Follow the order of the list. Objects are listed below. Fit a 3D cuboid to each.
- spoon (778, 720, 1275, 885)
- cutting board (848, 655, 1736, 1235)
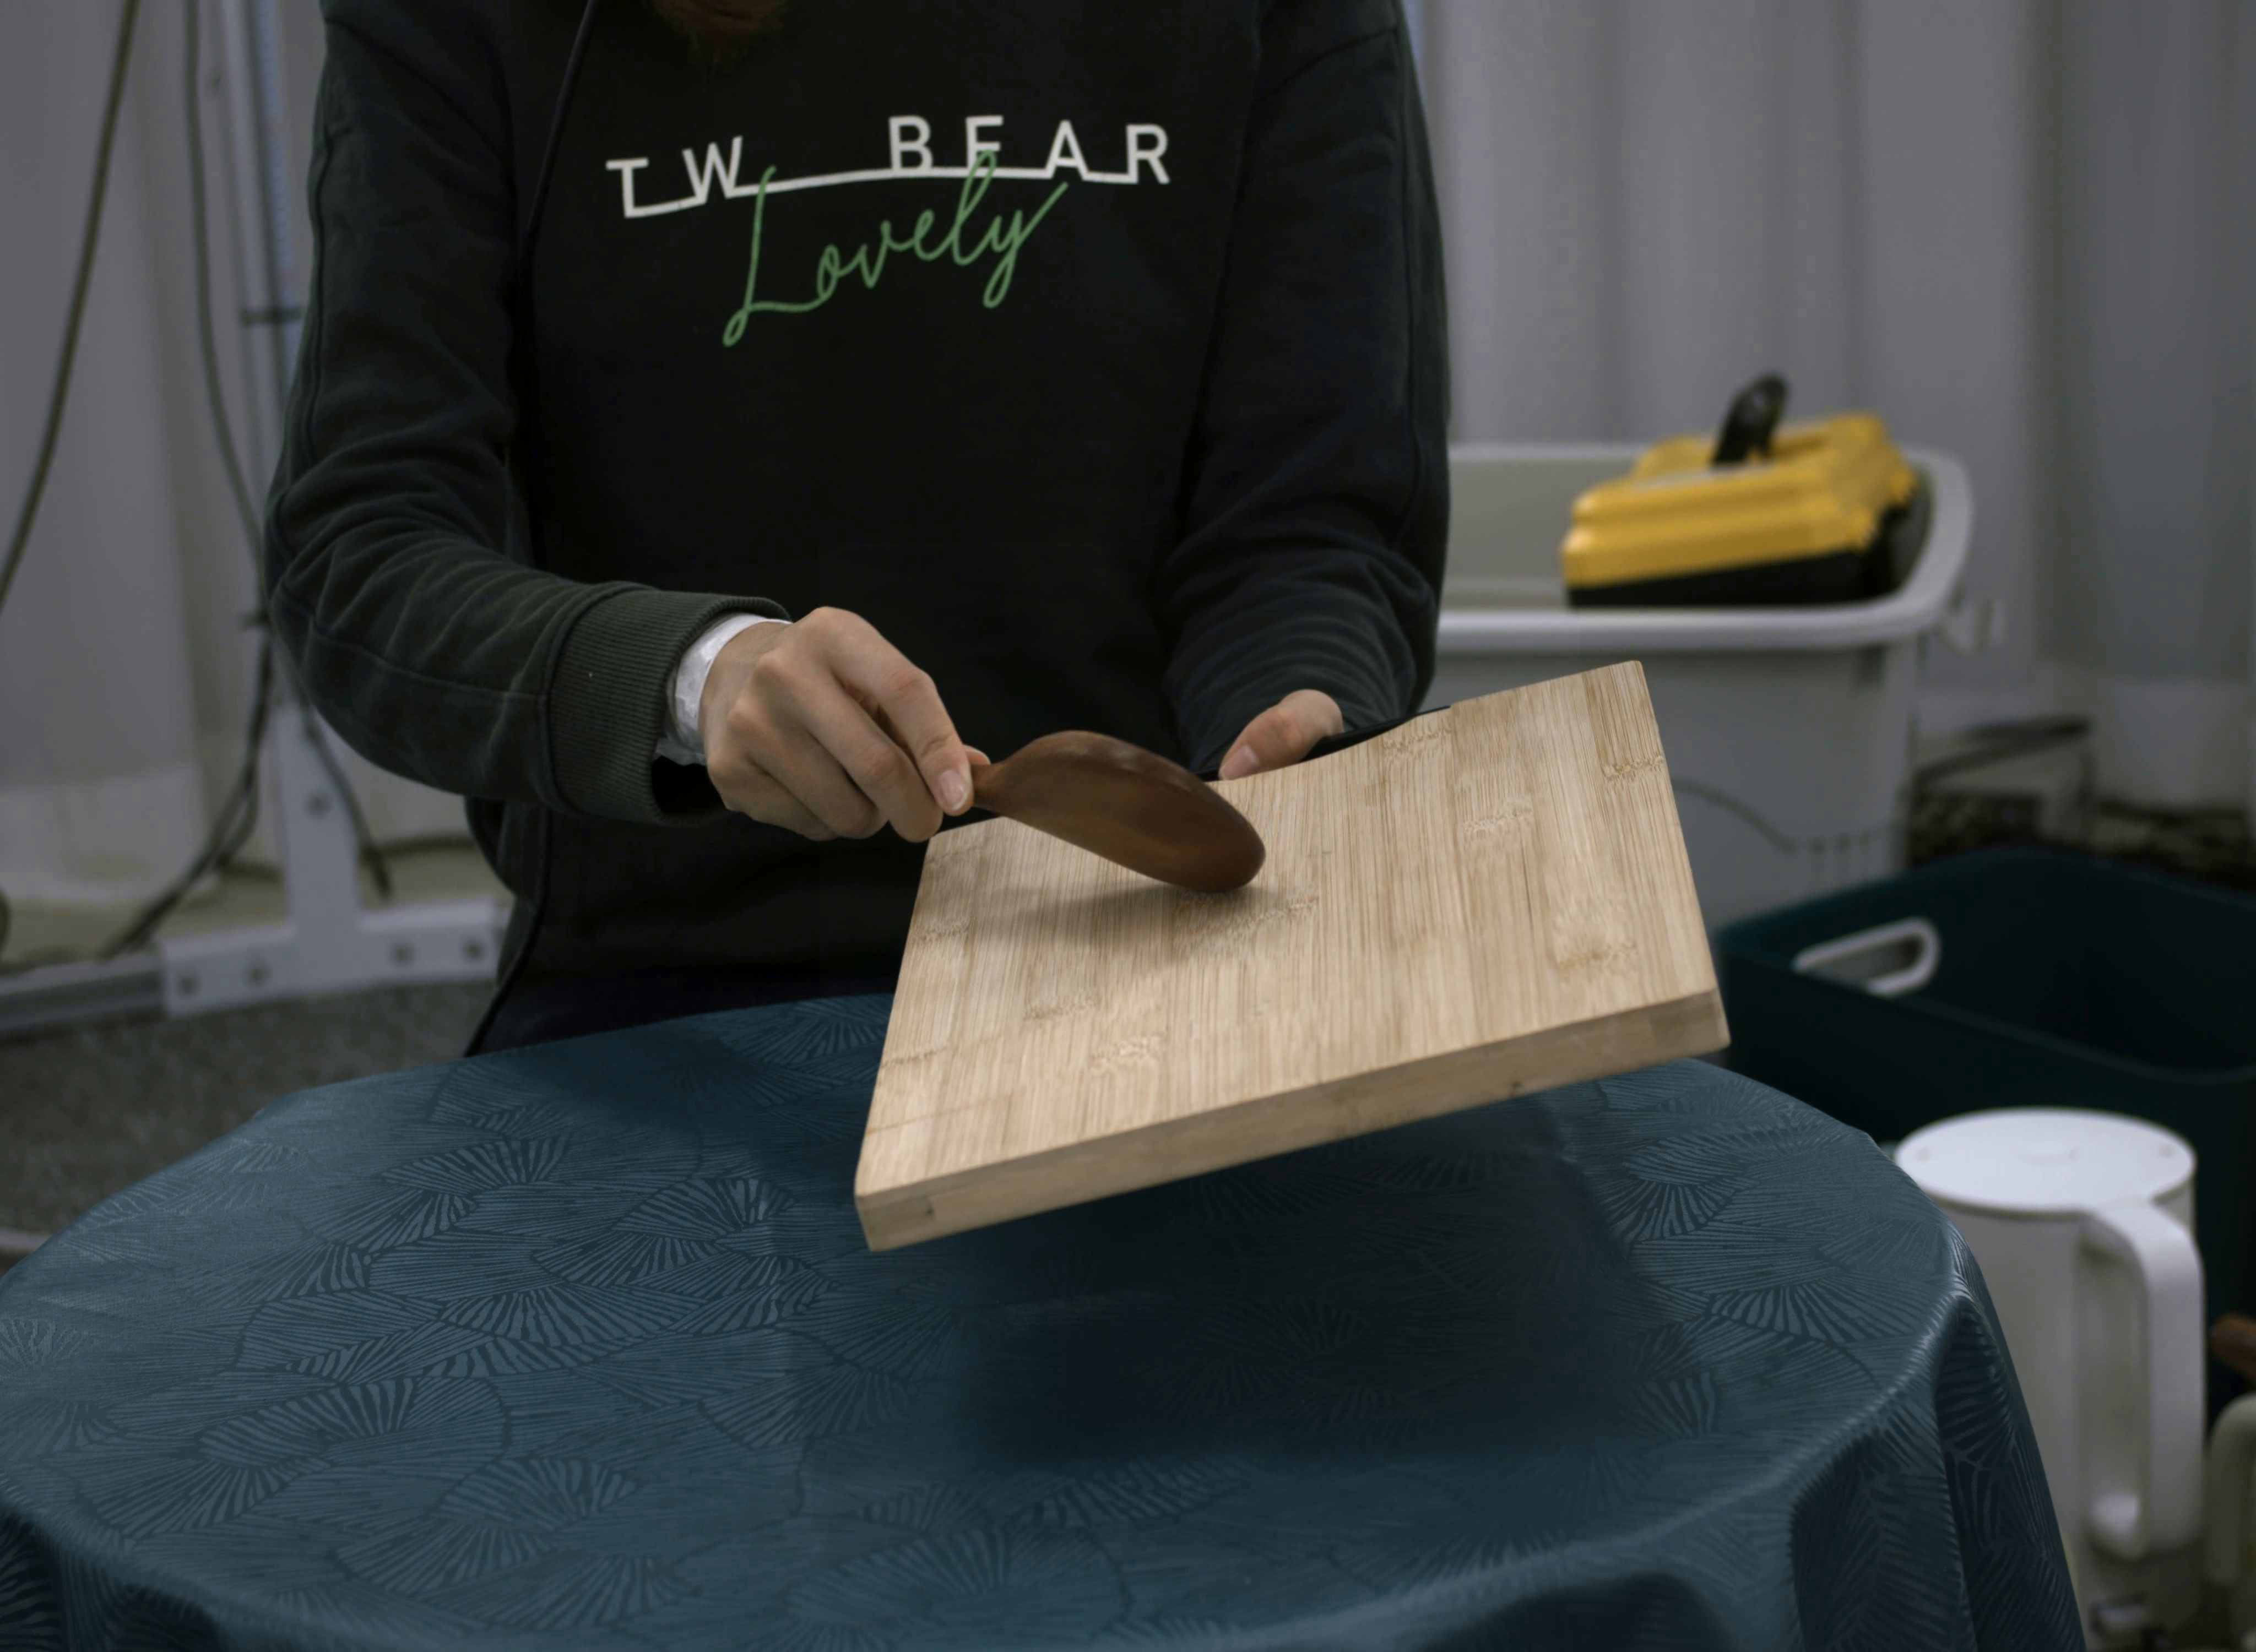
[{"bbox_3d":[-0.038,-0.010,1.687,0.217,0.017,0.074,11,-25,49],"label":"spoon"},{"bbox_3d":[0.049,0.030,1.629,0.250,0.023,0.351,-13,16,5],"label":"cutting board"}]
